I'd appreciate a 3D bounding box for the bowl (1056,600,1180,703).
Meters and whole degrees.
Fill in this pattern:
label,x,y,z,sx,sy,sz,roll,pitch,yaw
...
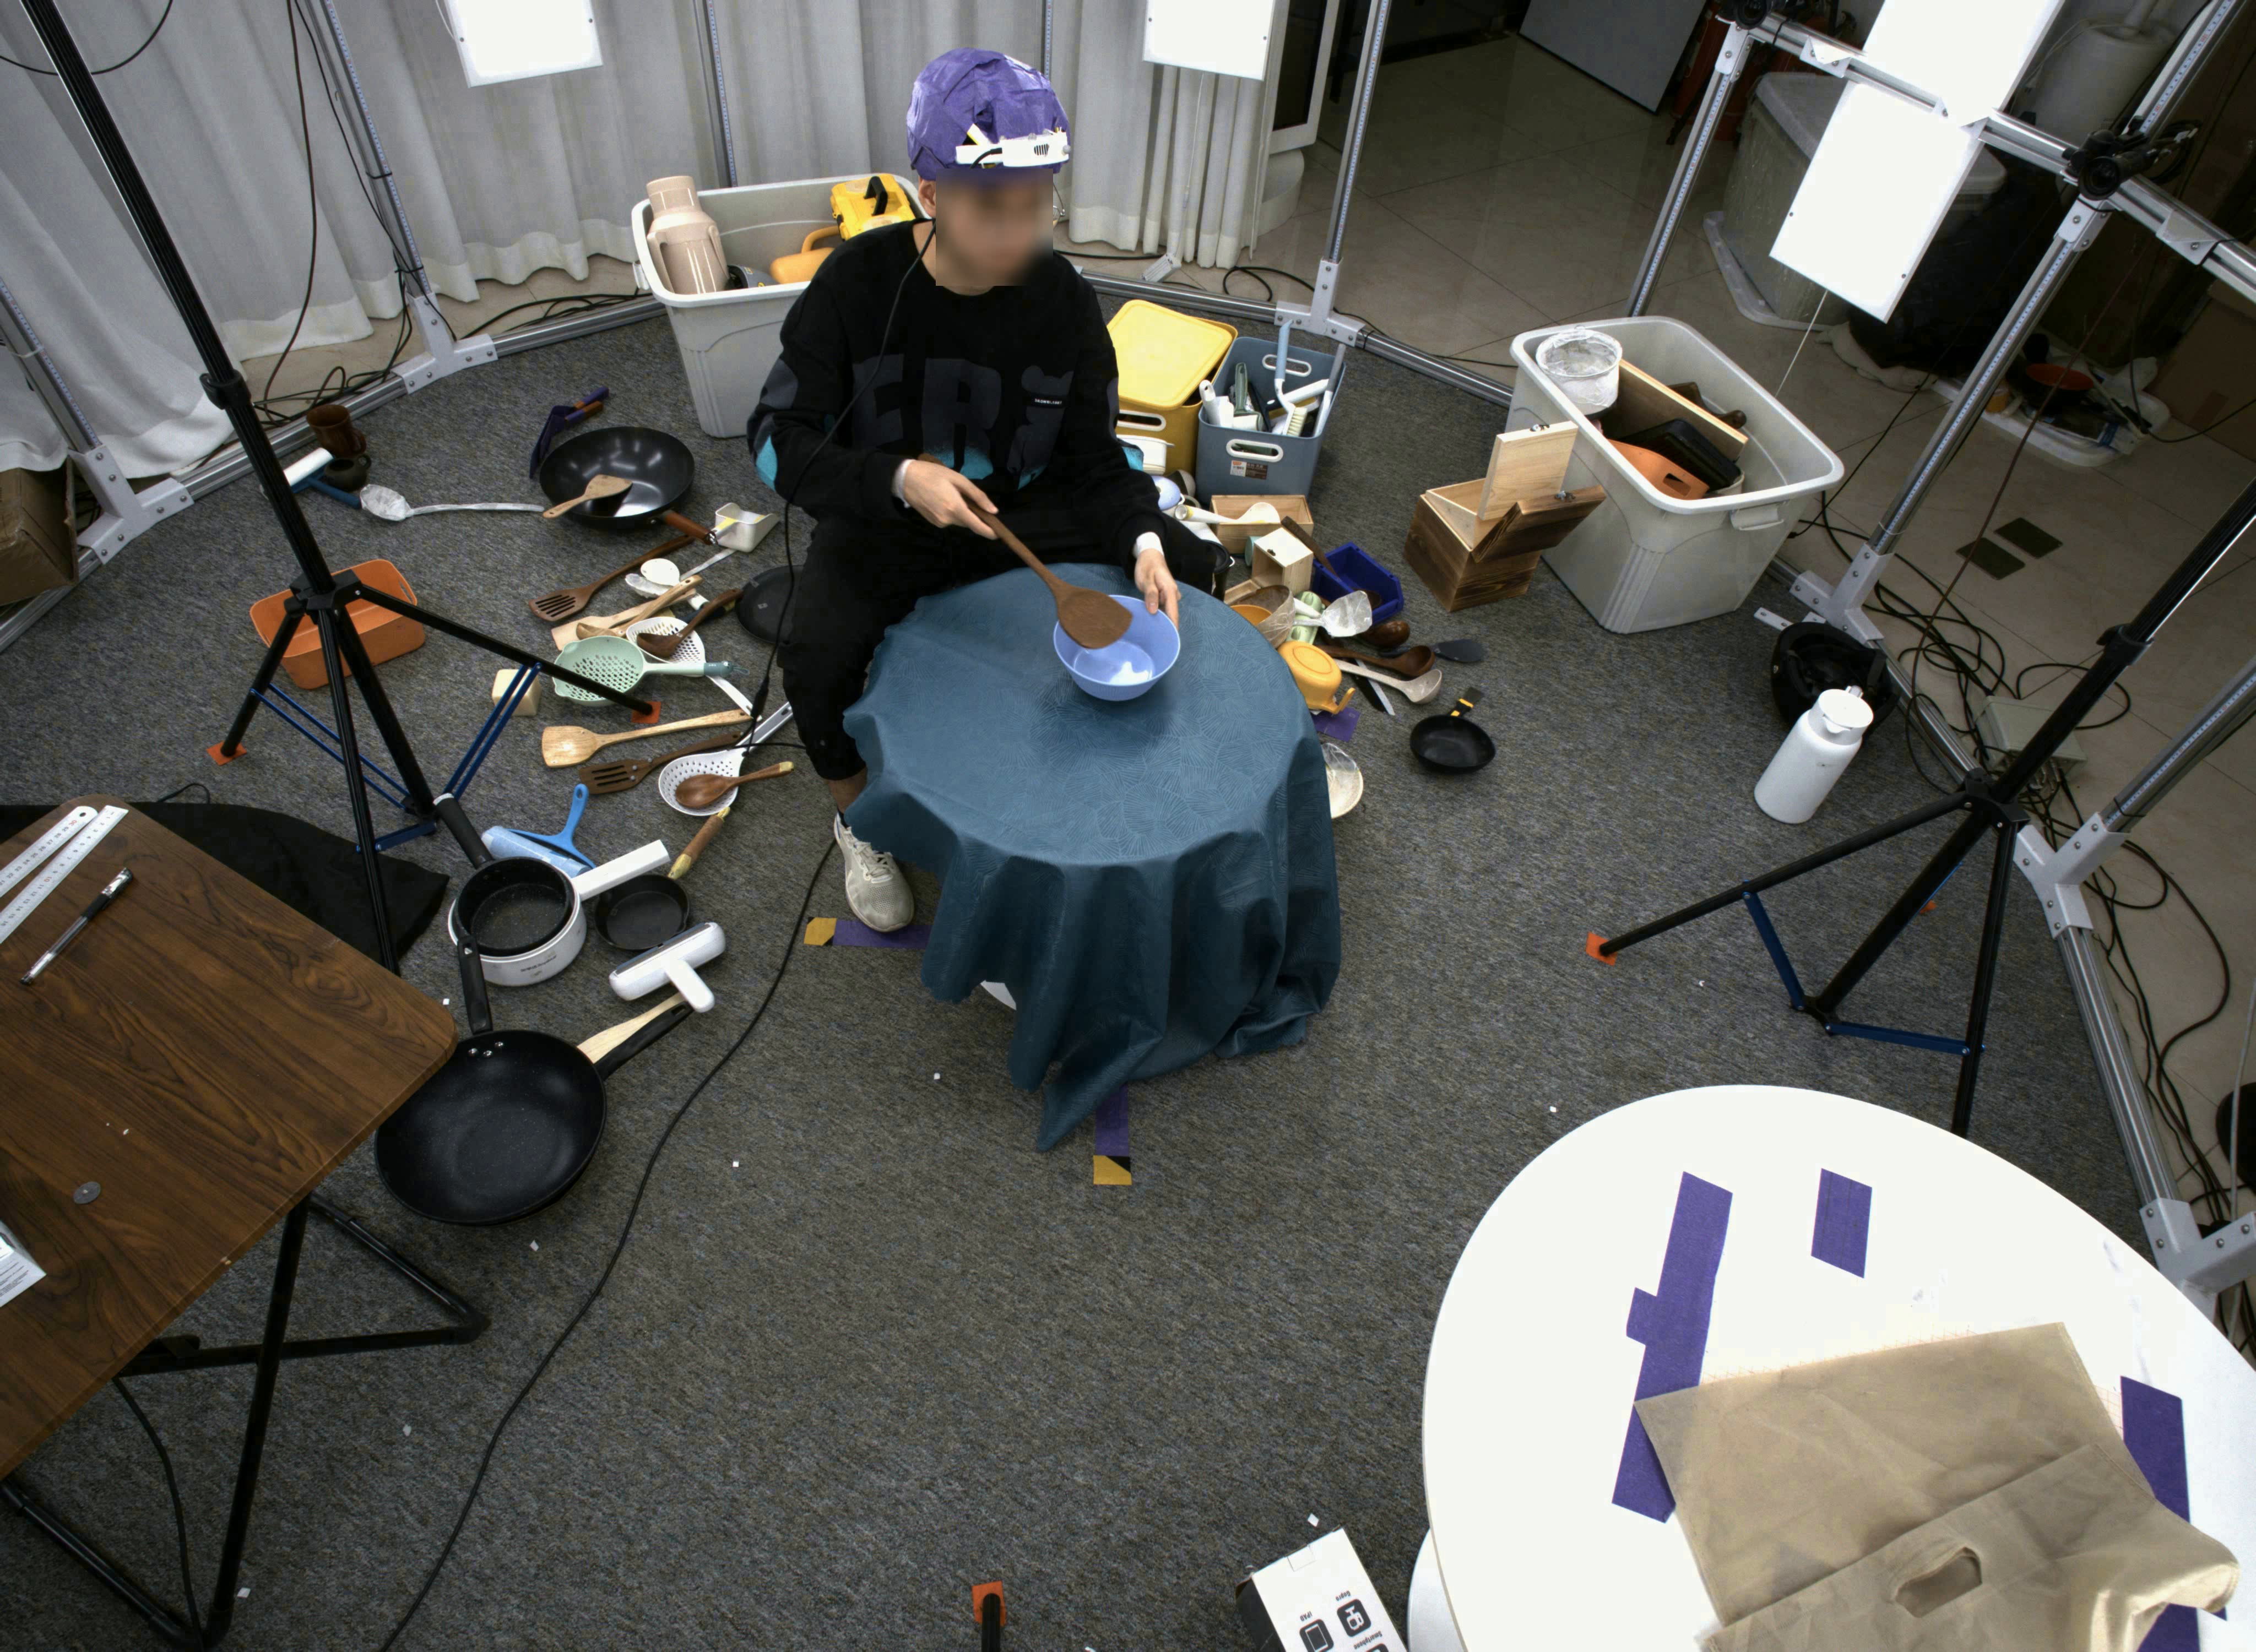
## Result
label,x,y,z,sx,sy,sz,roll,pitch,yaw
bowl,-0.016,-0.239,1.824,0.176,0.068,0.180,3,50,-4

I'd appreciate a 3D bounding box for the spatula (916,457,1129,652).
label,x,y,z,sx,sy,sz,roll,pitch,yaw
spatula,-0.156,-0.383,1.780,0.388,0.015,0.097,44,60,10
